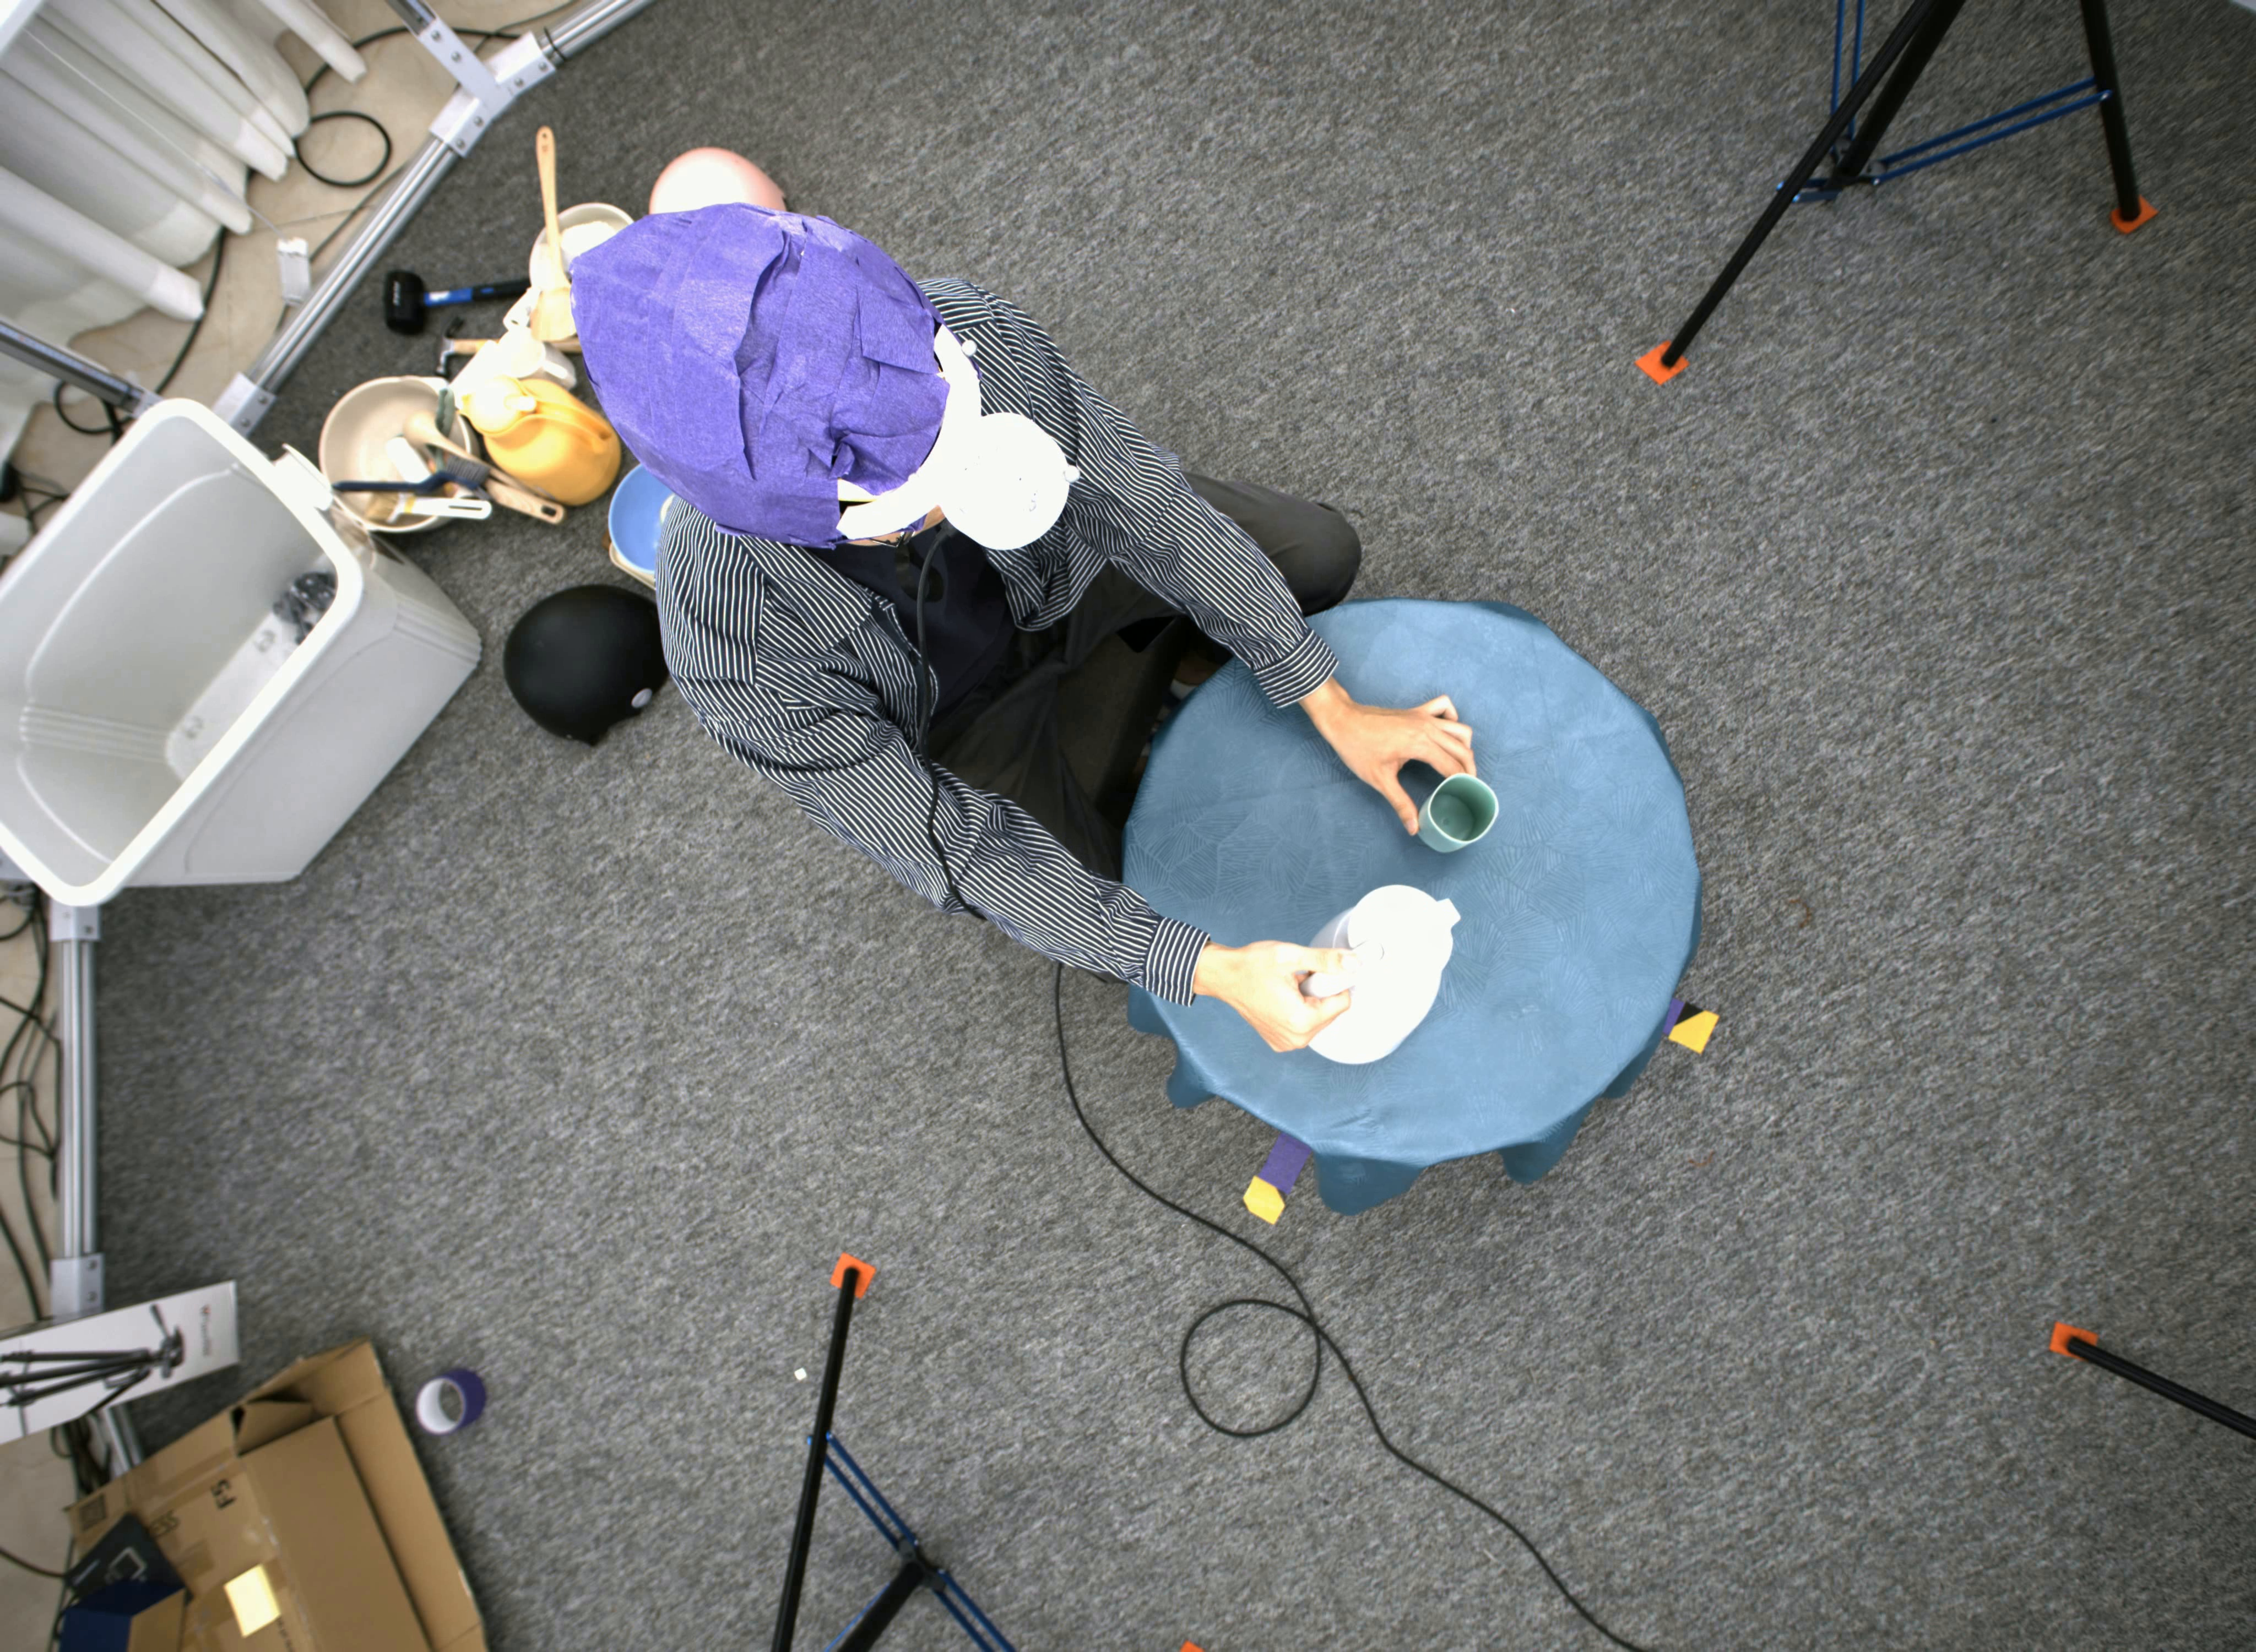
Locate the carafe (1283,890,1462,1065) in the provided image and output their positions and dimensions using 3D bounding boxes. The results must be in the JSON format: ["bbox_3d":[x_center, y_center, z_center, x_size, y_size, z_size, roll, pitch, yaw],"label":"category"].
[{"bbox_3d":[0.216,0.146,1.288,0.166,0.252,0.131,-31,75,-11],"label":"carafe"}]

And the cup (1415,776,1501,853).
[{"bbox_3d":[0.323,-0.012,1.362,0.067,0.132,0.066,0,86,6],"label":"cup"}]
